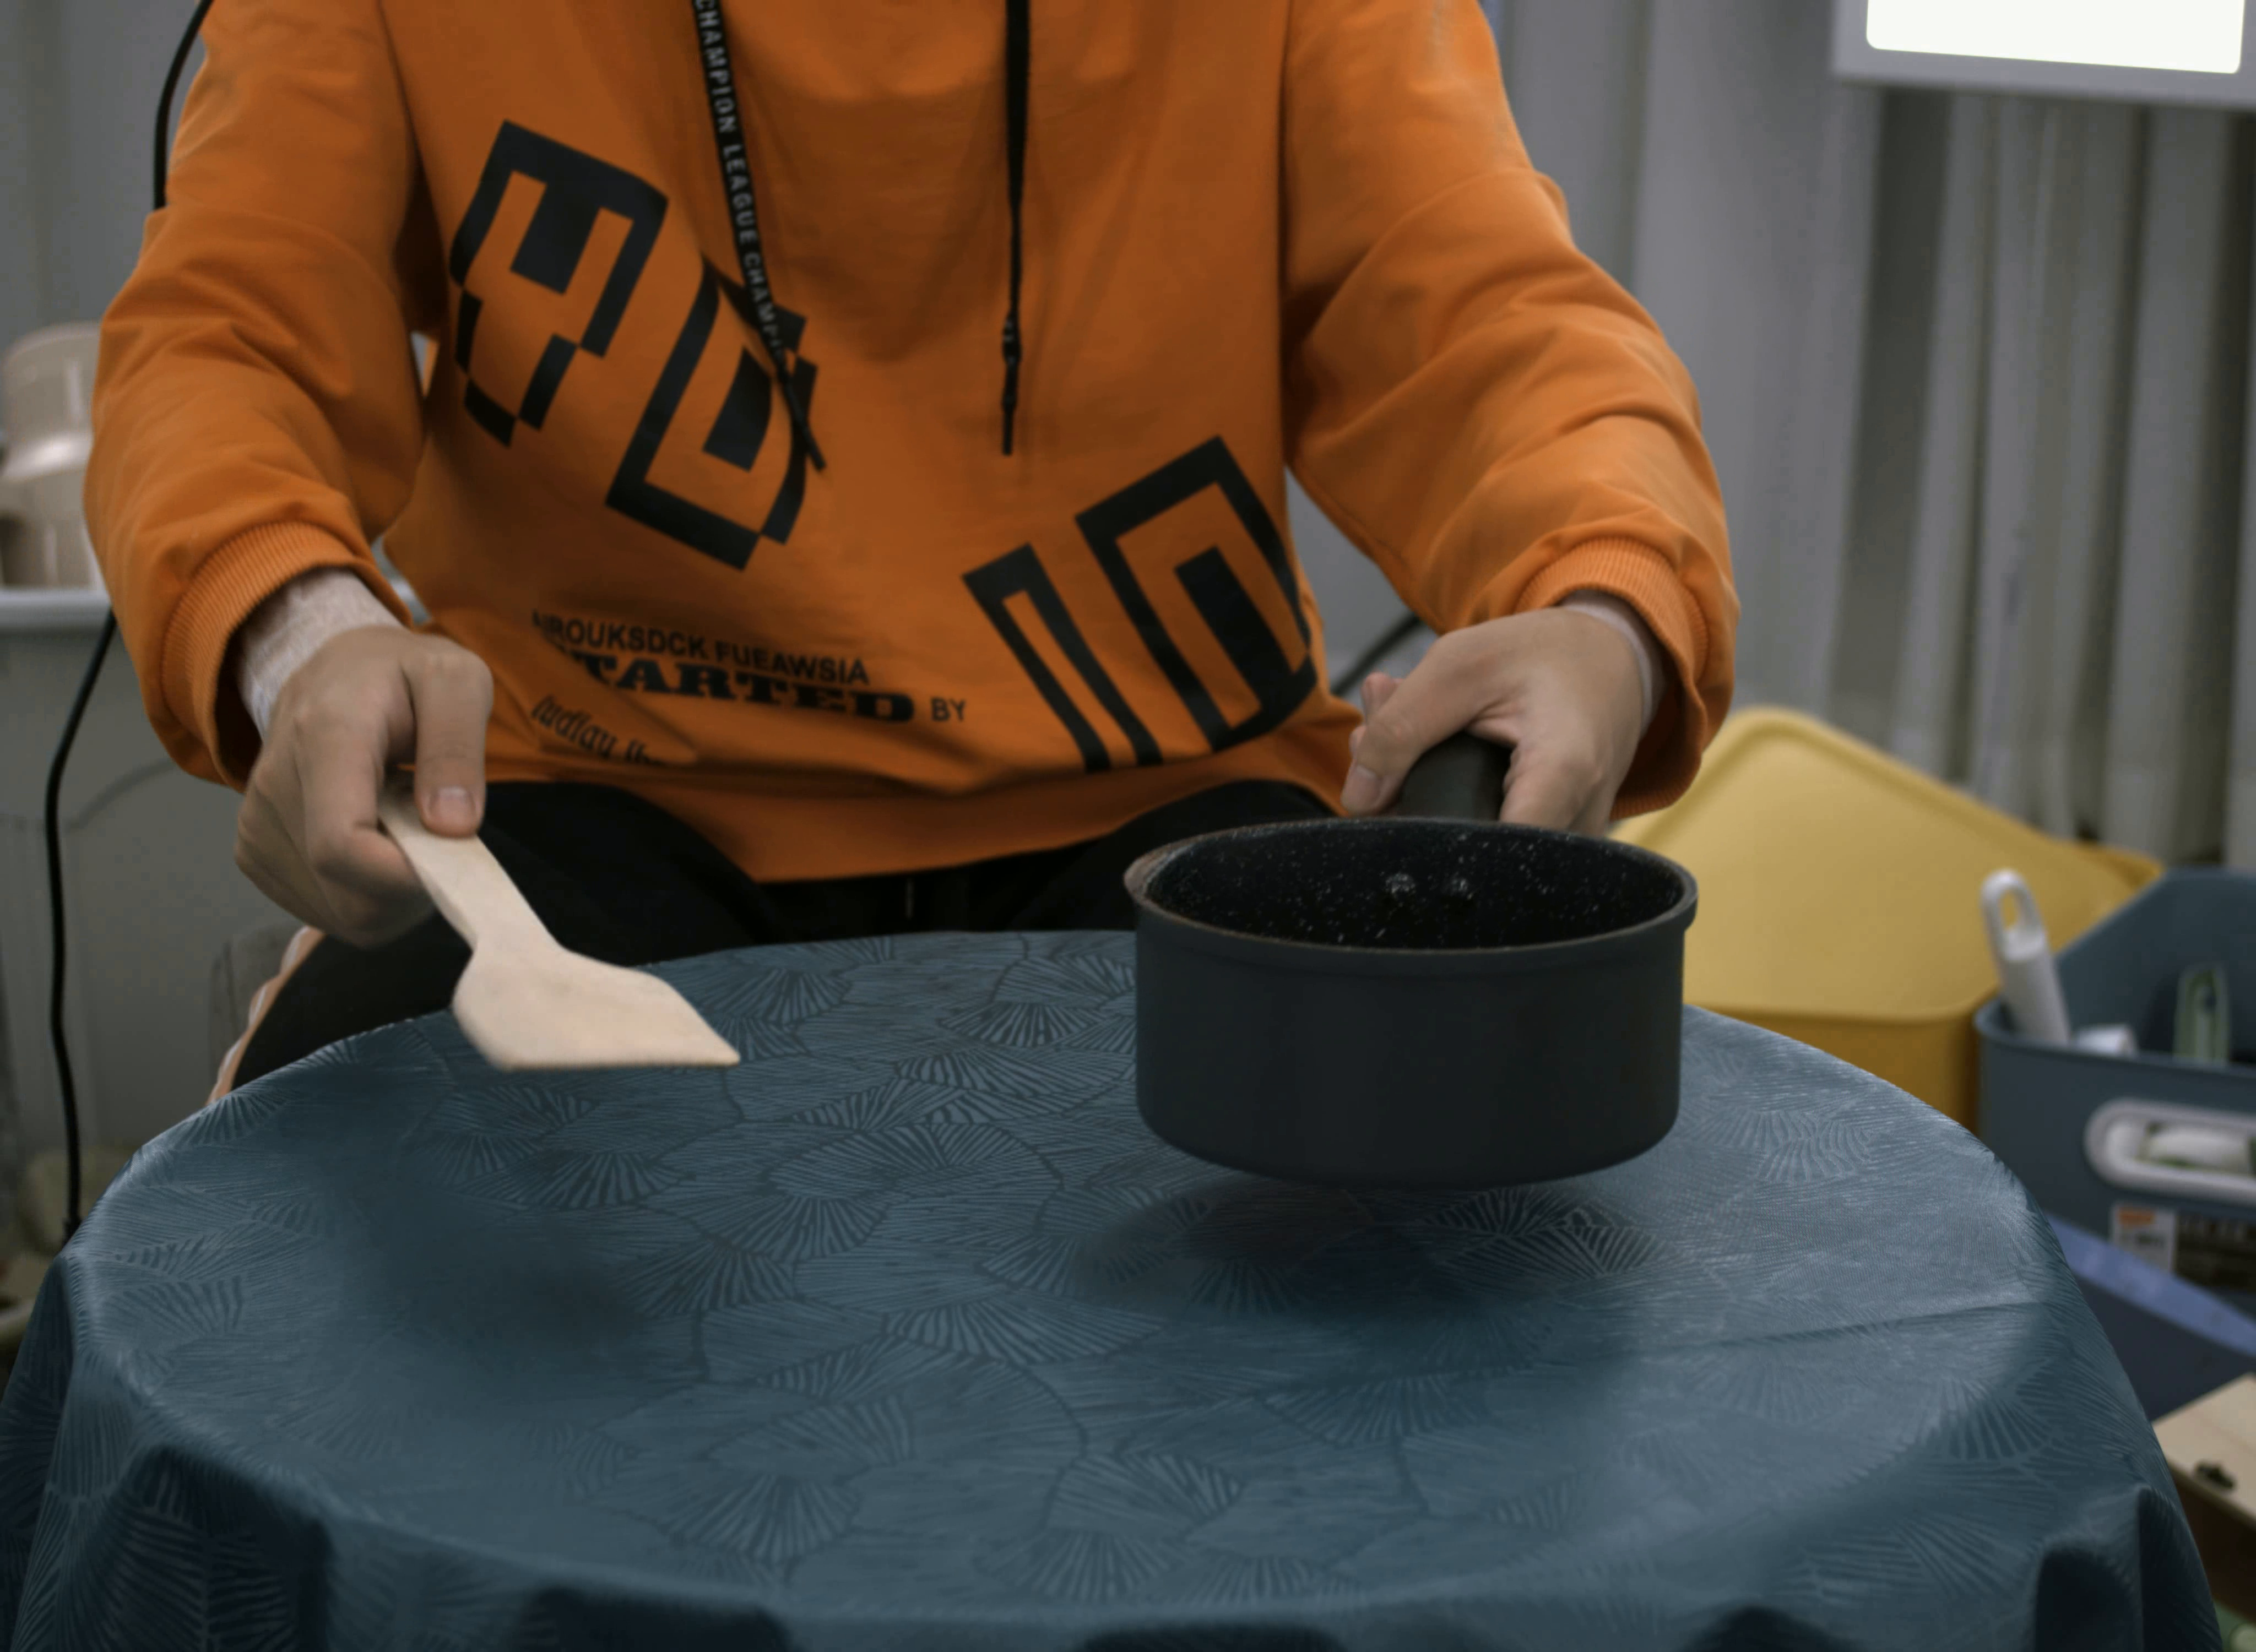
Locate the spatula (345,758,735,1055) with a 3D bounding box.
[{"bbox_3d":[-0.195,0.023,1.606,0.072,0.011,0.289,1,17,-23],"label":"spatula"}]

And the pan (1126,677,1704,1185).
[{"bbox_3d":[0.099,0.029,1.646,0.171,0.087,0.328,4,15,10],"label":"pan"}]
